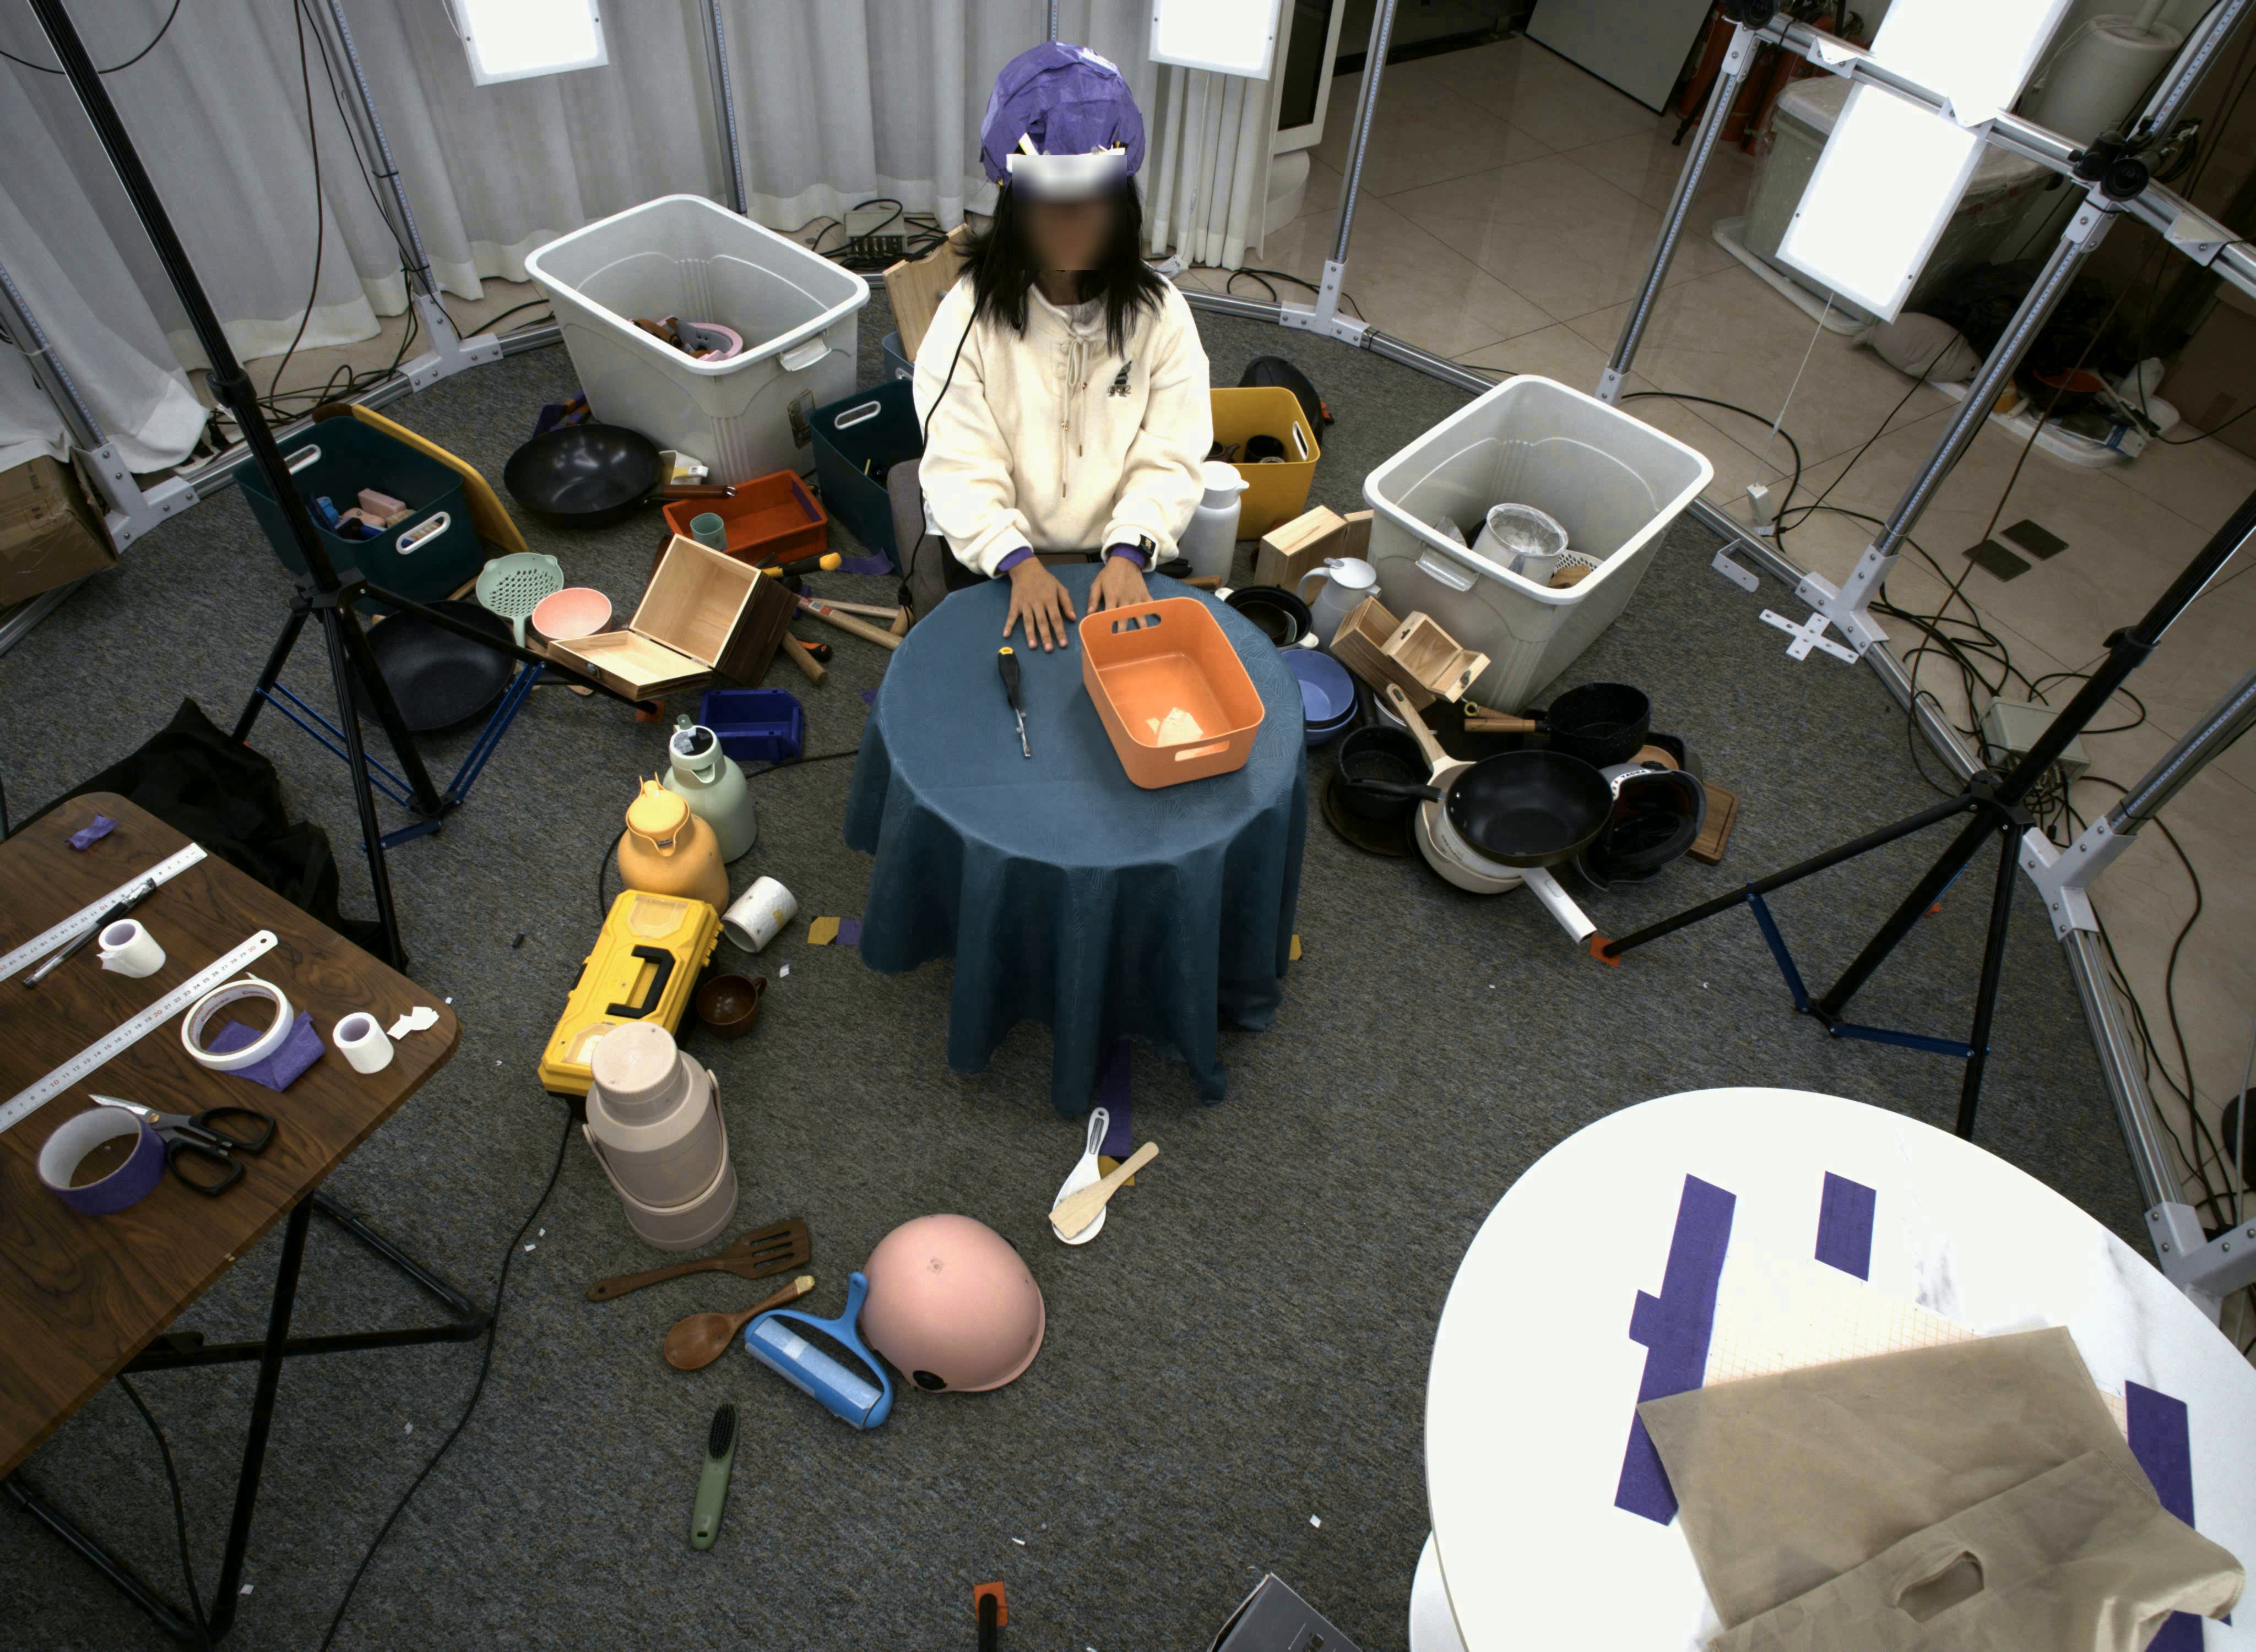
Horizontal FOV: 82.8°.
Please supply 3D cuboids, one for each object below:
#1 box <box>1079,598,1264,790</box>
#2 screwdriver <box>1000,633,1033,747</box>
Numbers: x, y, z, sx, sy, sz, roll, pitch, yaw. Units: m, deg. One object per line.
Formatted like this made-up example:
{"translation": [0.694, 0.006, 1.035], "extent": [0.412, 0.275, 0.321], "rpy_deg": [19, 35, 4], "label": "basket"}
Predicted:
{"translation": [0.054, -0.181, 1.764], "extent": [0.199, 0.100, 0.280], "rpy_deg": [-13, 52, -14], "label": "box"}
{"translation": [-0.149, -0.190, 1.795], "extent": [0.031, 0.031, 0.202], "rpy_deg": [-9, 59, -13], "label": "screwdriver"}
